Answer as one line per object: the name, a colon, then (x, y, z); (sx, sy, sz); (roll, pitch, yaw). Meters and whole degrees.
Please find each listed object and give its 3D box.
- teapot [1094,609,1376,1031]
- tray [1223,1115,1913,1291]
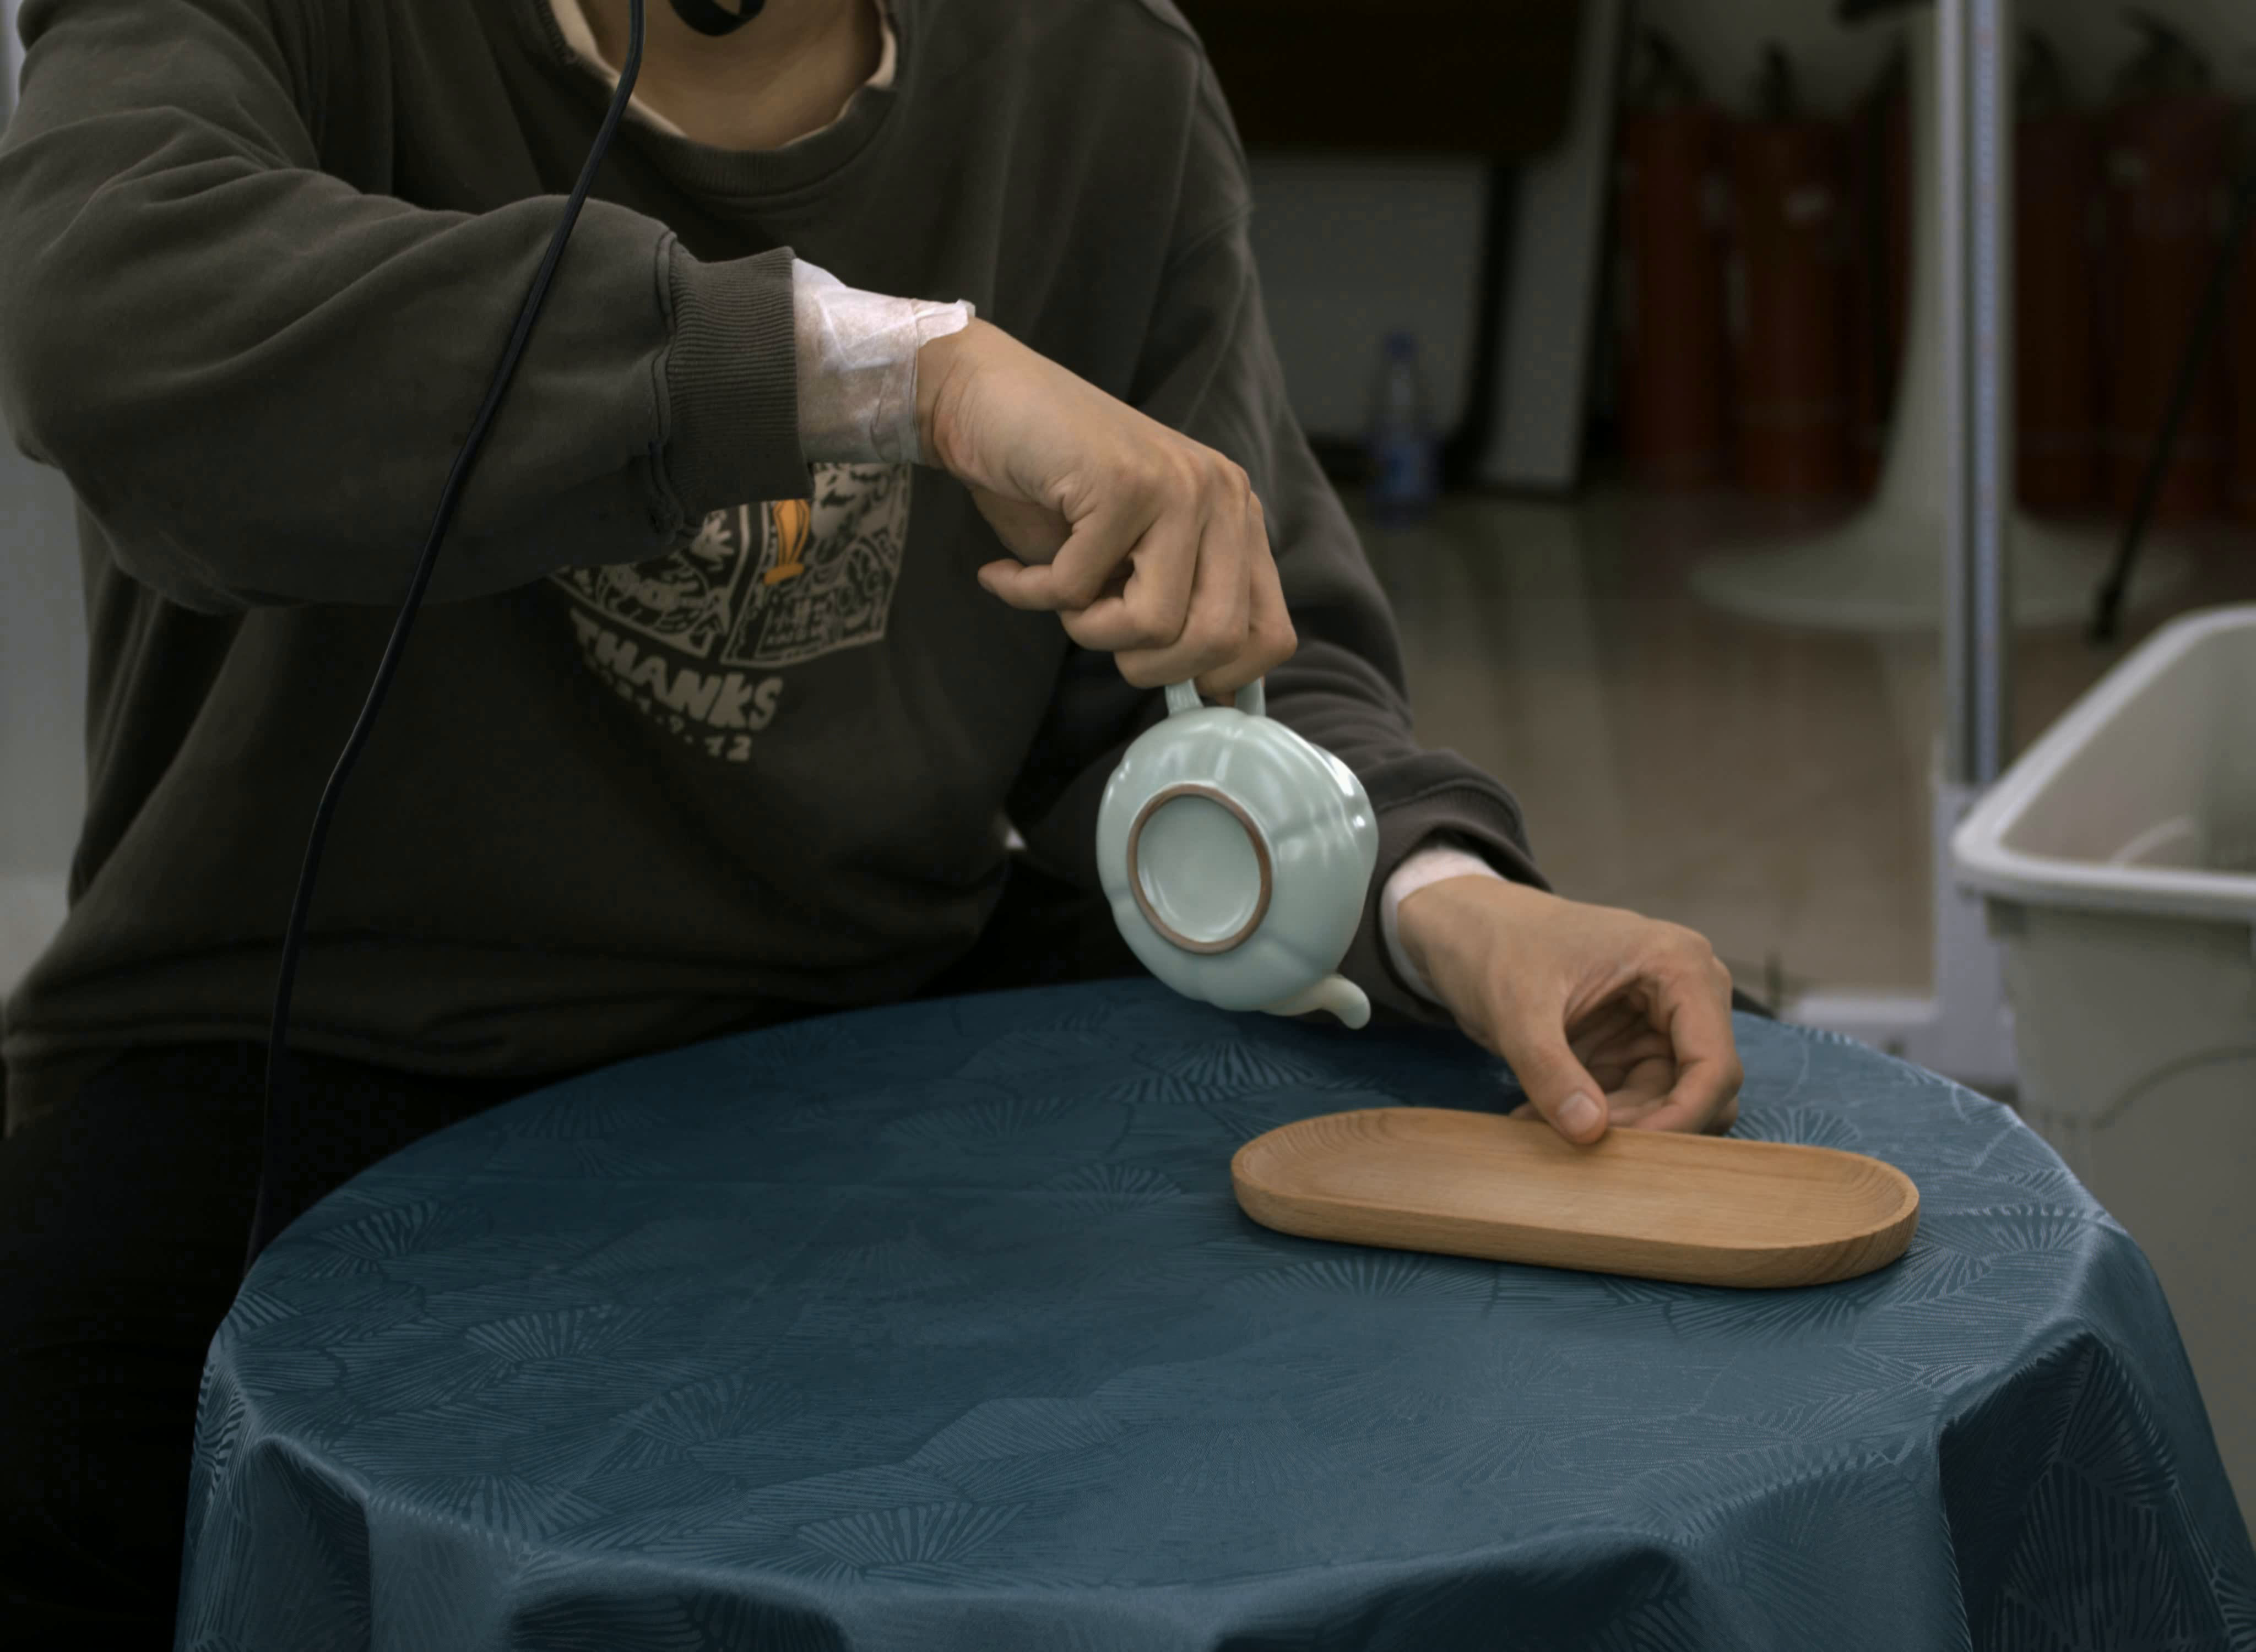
teapot: (0.036, 0.002, 1.670); (0.097, 0.138, 0.060); (-16, -1, 40)
tray: (0.138, 0.119, 1.709); (0.232, 0.020, 0.100); (2, 14, 30)
